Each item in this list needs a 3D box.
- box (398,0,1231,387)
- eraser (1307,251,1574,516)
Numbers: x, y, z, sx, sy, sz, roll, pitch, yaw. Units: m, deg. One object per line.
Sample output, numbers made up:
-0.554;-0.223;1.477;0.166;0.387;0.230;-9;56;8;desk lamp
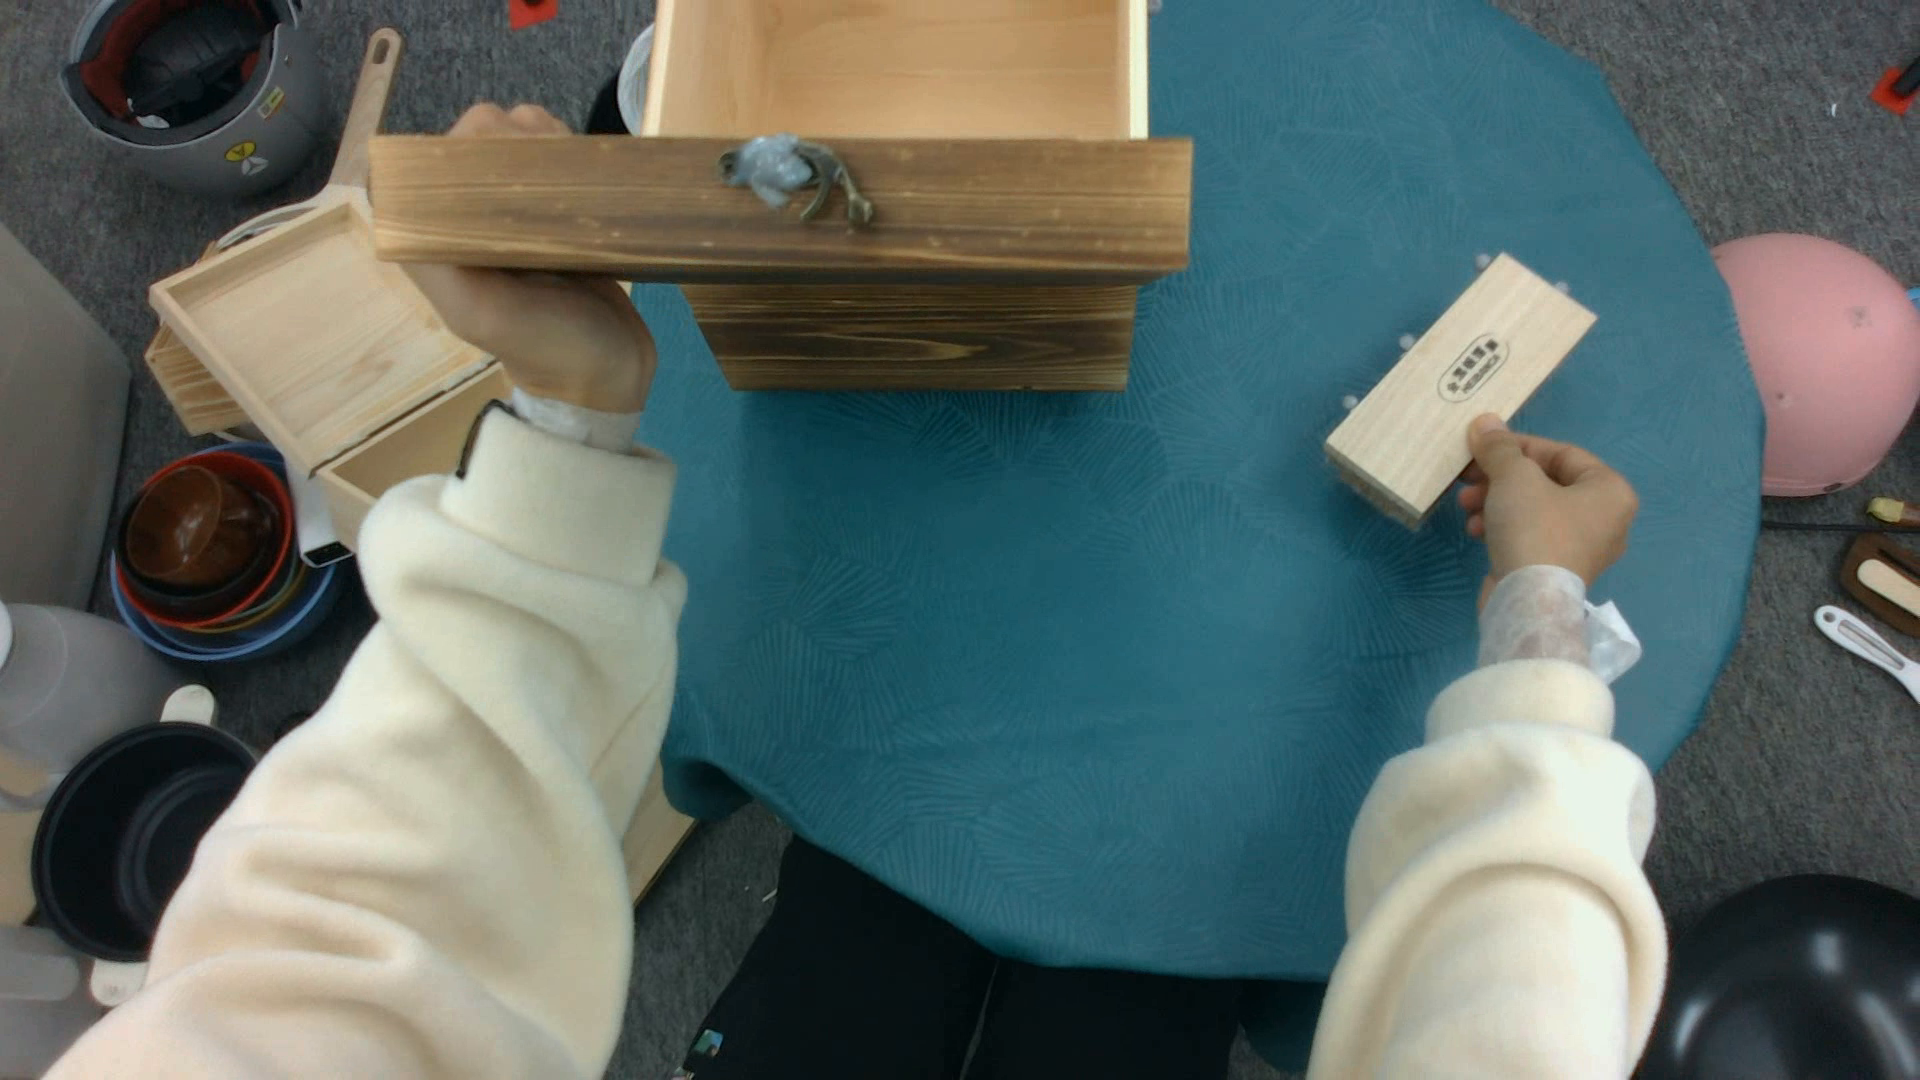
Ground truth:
-0.030;-0.189;0.541;0.209;0.374;0.323;0;69;2;box
0.235;-0.078;0.680;0.057;0.029;0.139;41;75;17;eraser
